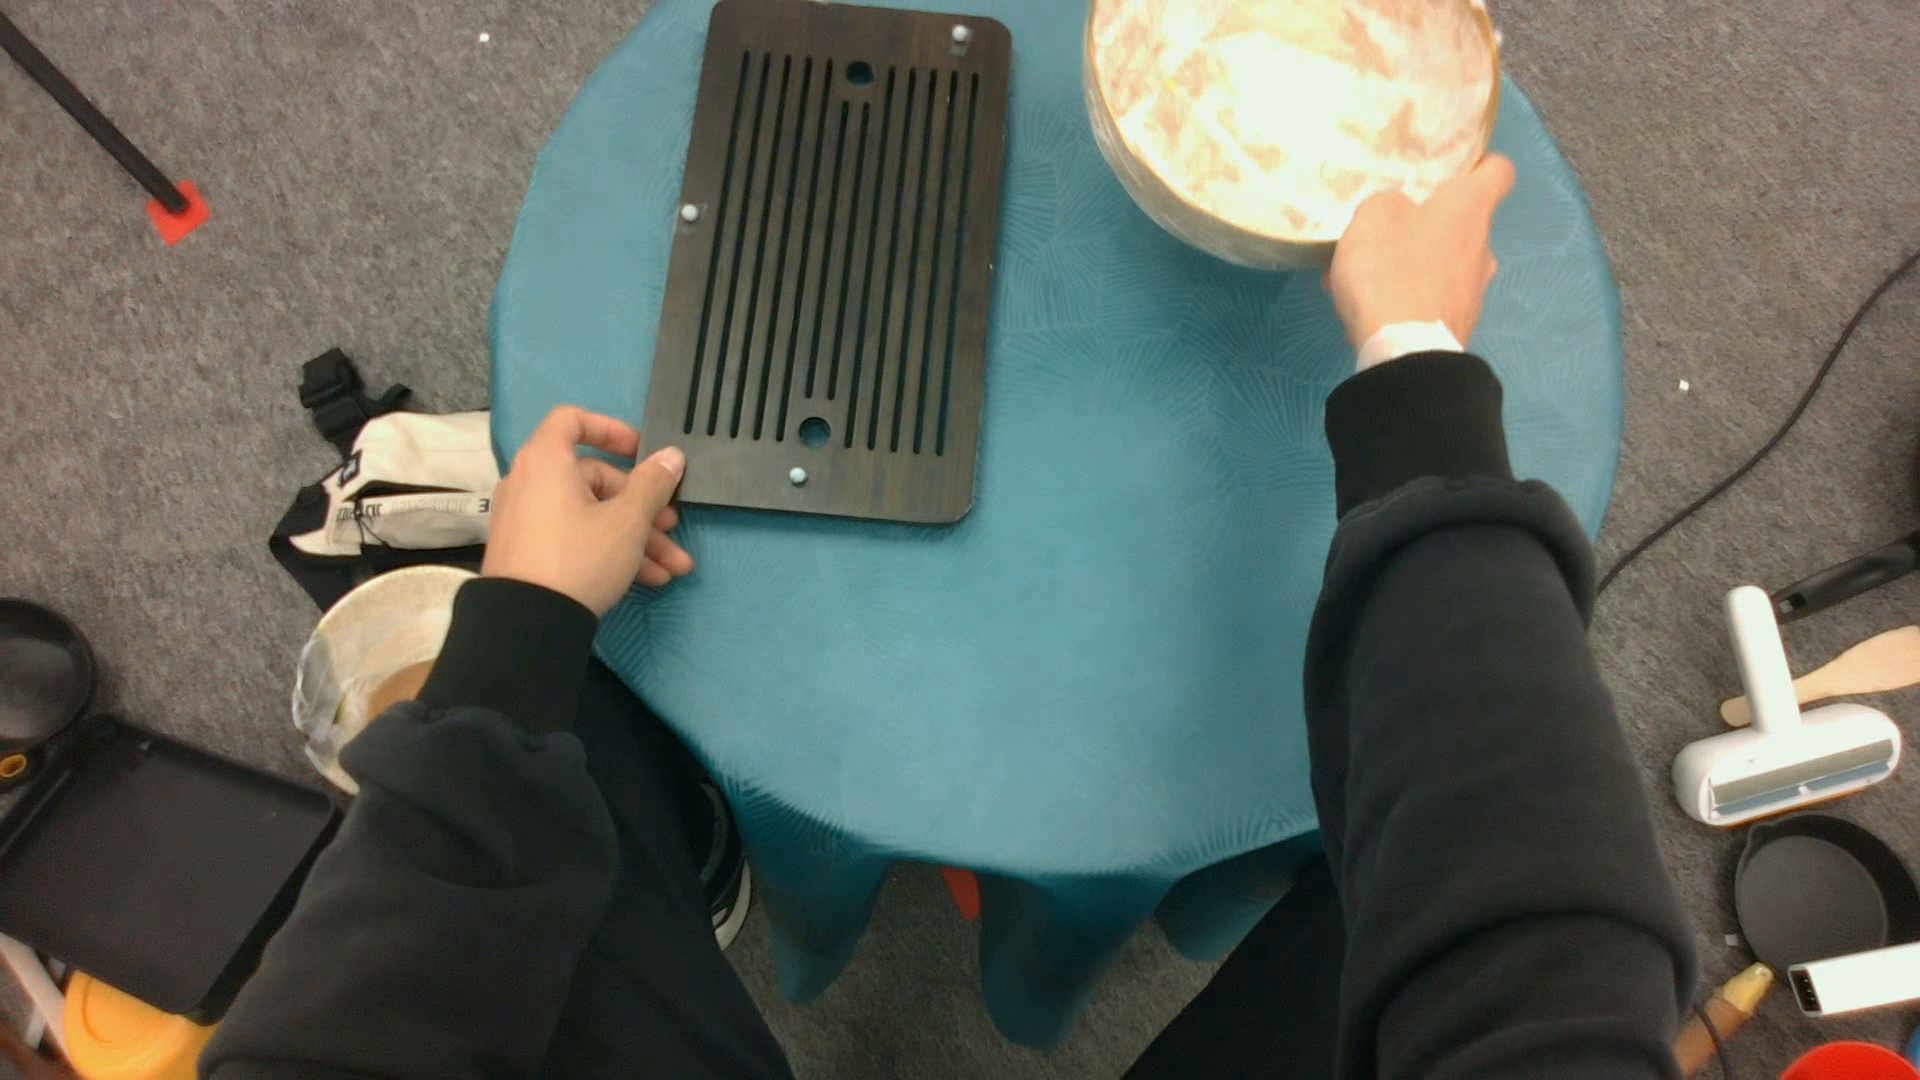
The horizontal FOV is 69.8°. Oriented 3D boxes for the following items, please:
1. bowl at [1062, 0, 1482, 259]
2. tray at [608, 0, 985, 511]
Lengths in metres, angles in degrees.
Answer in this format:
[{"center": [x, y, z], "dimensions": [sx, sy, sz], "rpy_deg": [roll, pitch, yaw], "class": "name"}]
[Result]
[{"center": [0.142, -0.222, 0.695], "dimensions": [0.215, 0.094, 0.215], "rpy_deg": [3, 74, -9], "class": "bowl"}, {"center": [-0.080, -0.163, 0.734], "dimensions": [0.170, 0.018, 0.307], "rpy_deg": [5, 71, -1], "class": "tray"}]
